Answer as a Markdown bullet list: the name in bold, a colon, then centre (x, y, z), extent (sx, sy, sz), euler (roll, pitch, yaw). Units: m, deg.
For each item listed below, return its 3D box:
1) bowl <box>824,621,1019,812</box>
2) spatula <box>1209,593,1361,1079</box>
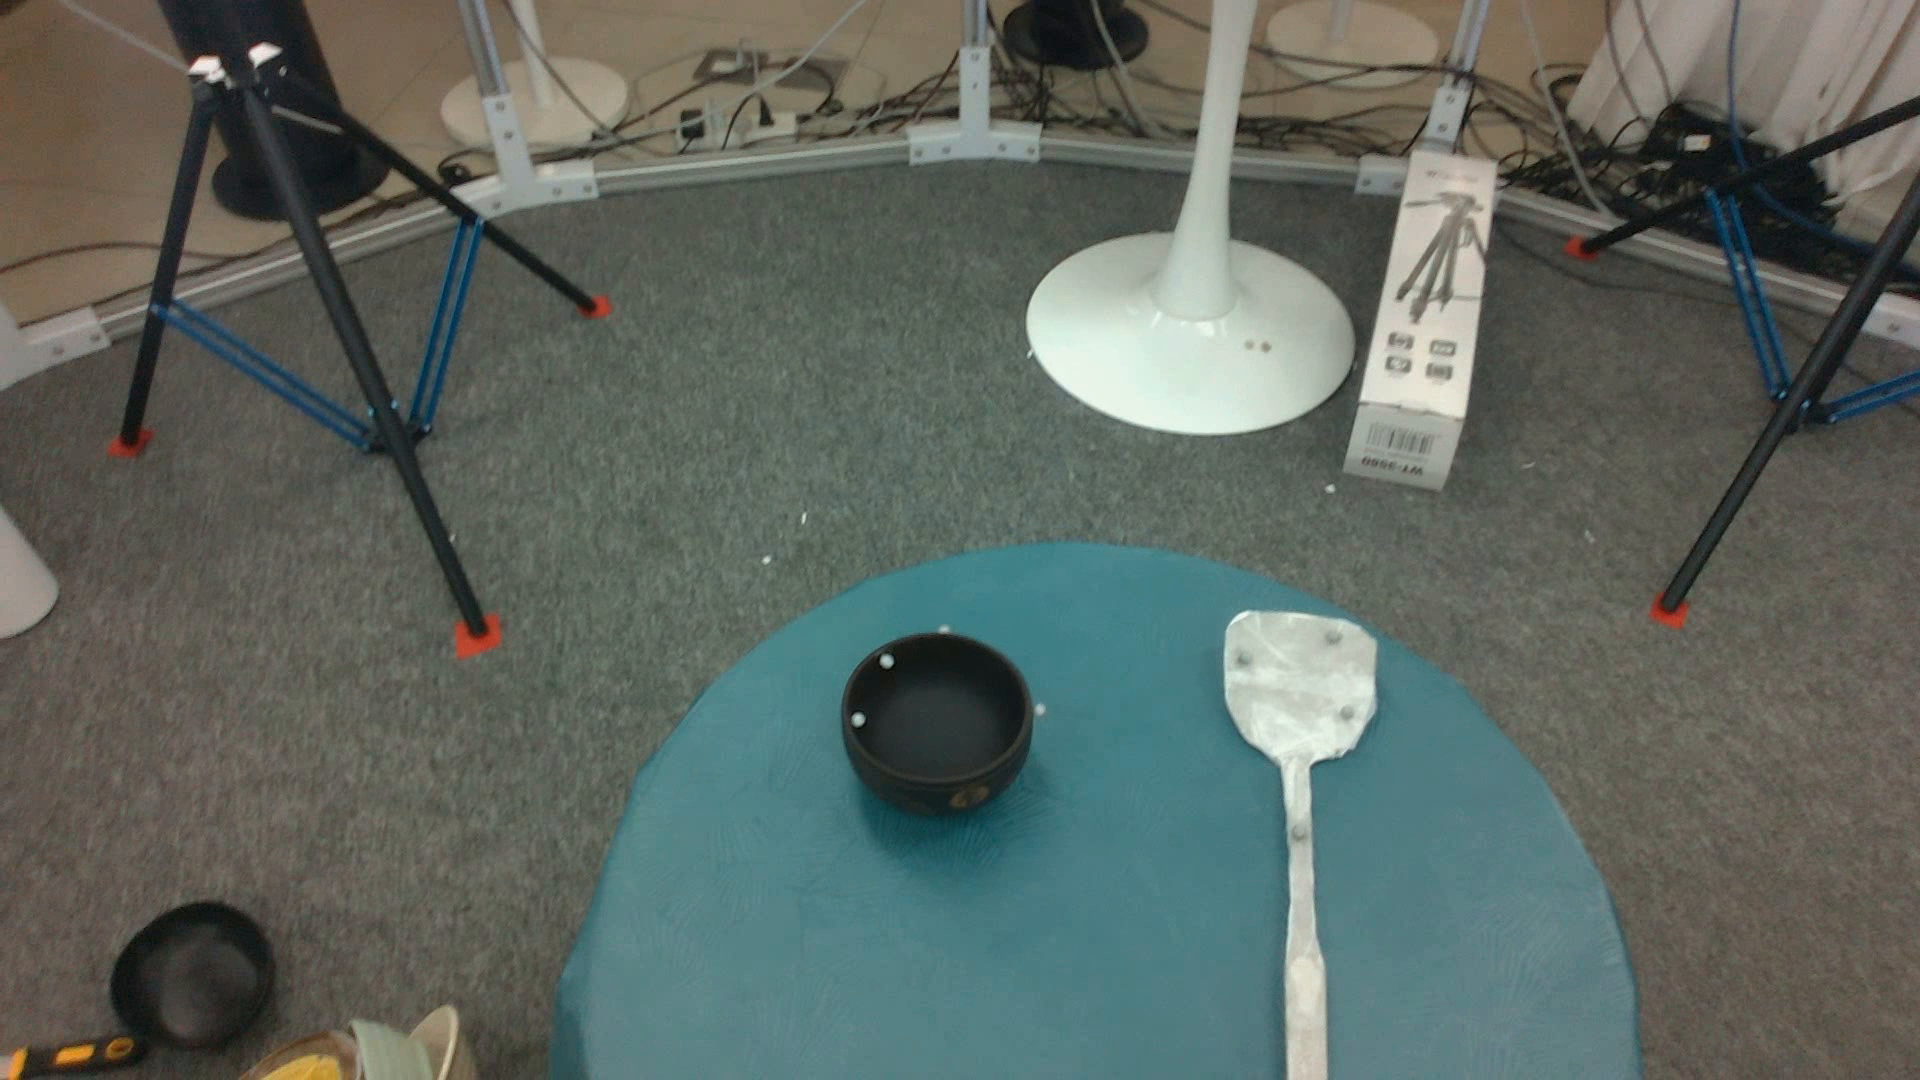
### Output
- **bowl**: centre (-0.023, 0.115, 0.847), extent (0.118, 0.069, 0.118), euler (0, 49, 0)
- **spatula**: centre (0.188, 0.184, 0.811), extent (0.098, 0.044, 0.367), euler (9, 47, 4)
